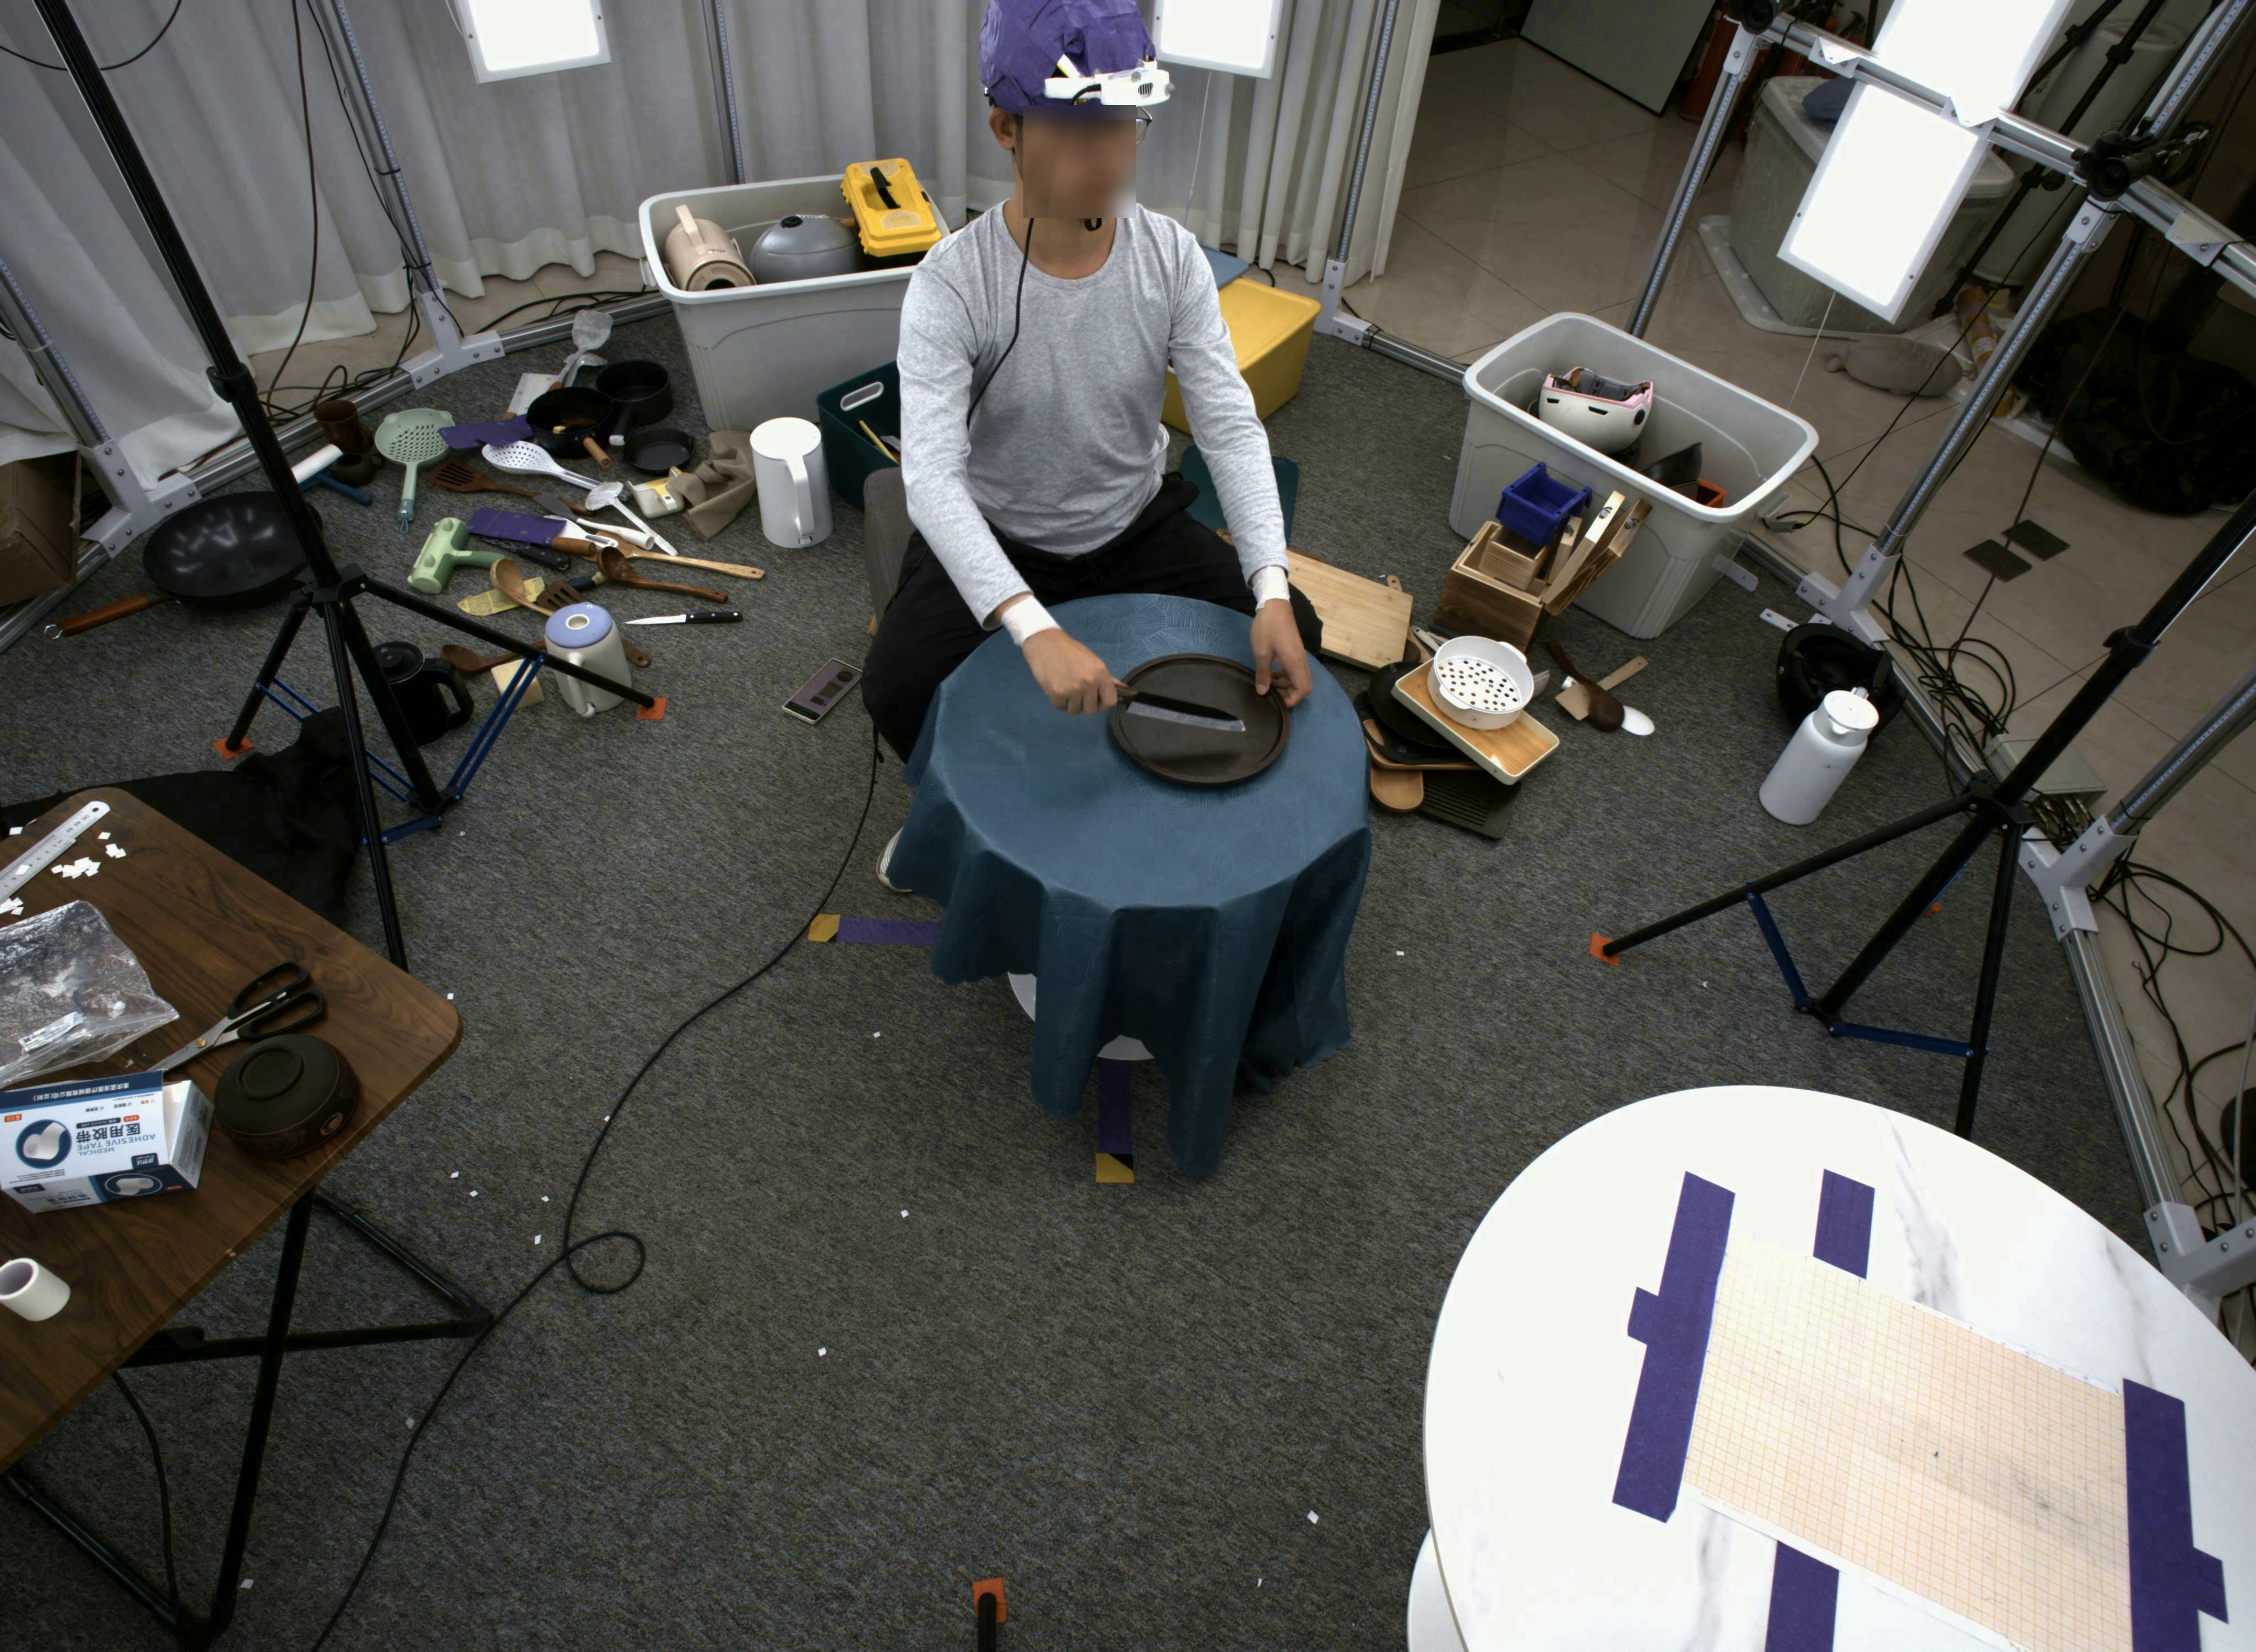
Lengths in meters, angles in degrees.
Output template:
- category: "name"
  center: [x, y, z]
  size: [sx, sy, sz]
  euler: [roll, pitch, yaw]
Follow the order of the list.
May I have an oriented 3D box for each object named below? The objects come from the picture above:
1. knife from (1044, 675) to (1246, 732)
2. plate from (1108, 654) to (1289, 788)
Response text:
- category: "knife"
  center: [0.025, -0.160, 1.707]
  size: [0.287, 0.049, 0.020]
  euler: [12, 55, -14]
- category: "plate"
  center: [0.098, -0.148, 1.787]
  size: [0.254, 0.028, 0.261]
  euler: [1, 49, -1]
